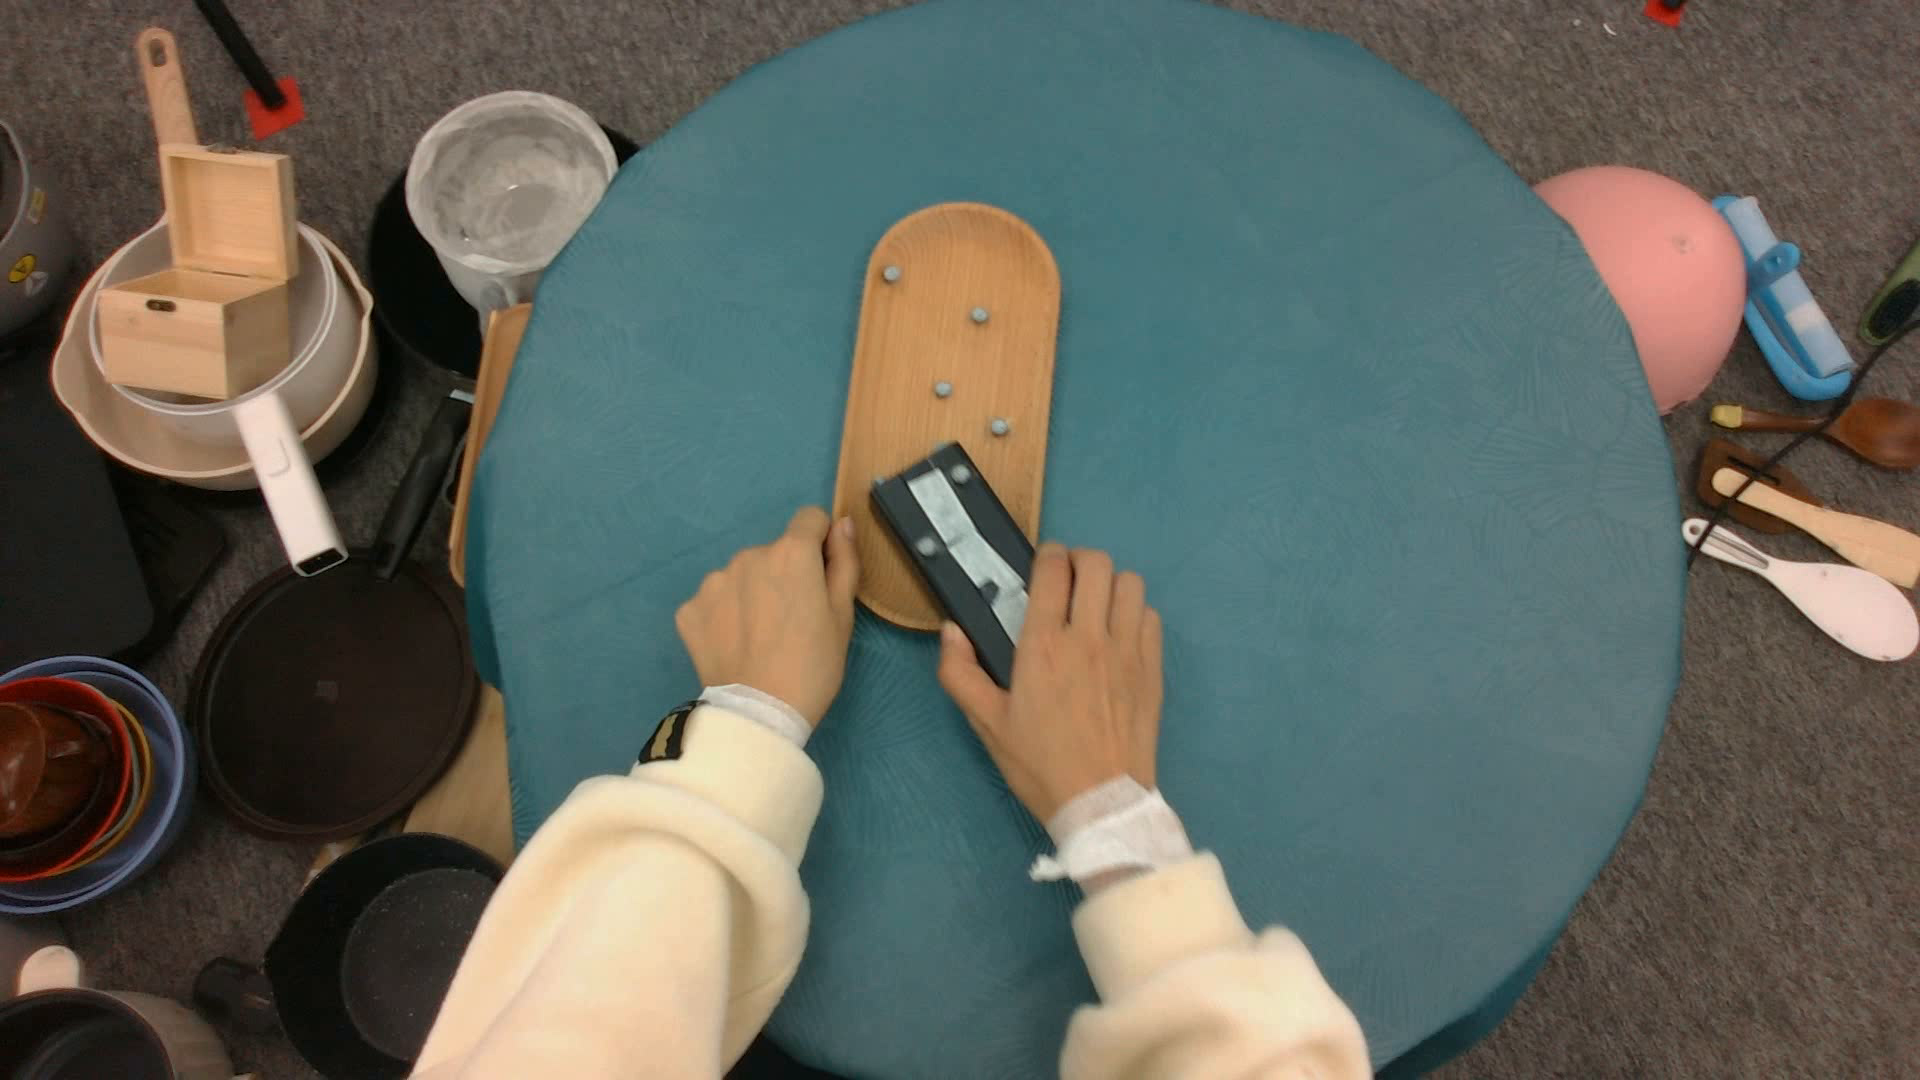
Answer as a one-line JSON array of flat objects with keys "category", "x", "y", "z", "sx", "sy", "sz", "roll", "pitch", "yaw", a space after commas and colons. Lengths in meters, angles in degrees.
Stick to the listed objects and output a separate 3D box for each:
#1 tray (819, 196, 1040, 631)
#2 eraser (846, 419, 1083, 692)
[{"category": "tray", "x": -0.013, "y": -0.067, "z": 0.687, "sx": 0.102, "sy": 0.020, "sz": 0.232, "roll": 4, "pitch": 73, "yaw": -1}, {"category": "eraser", "x": 0.001, "y": 0.006, "z": 0.643, "sx": 0.053, "sy": 0.030, "sz": 0.125, "roll": -33, "pitch": 70, "yaw": -5}]
